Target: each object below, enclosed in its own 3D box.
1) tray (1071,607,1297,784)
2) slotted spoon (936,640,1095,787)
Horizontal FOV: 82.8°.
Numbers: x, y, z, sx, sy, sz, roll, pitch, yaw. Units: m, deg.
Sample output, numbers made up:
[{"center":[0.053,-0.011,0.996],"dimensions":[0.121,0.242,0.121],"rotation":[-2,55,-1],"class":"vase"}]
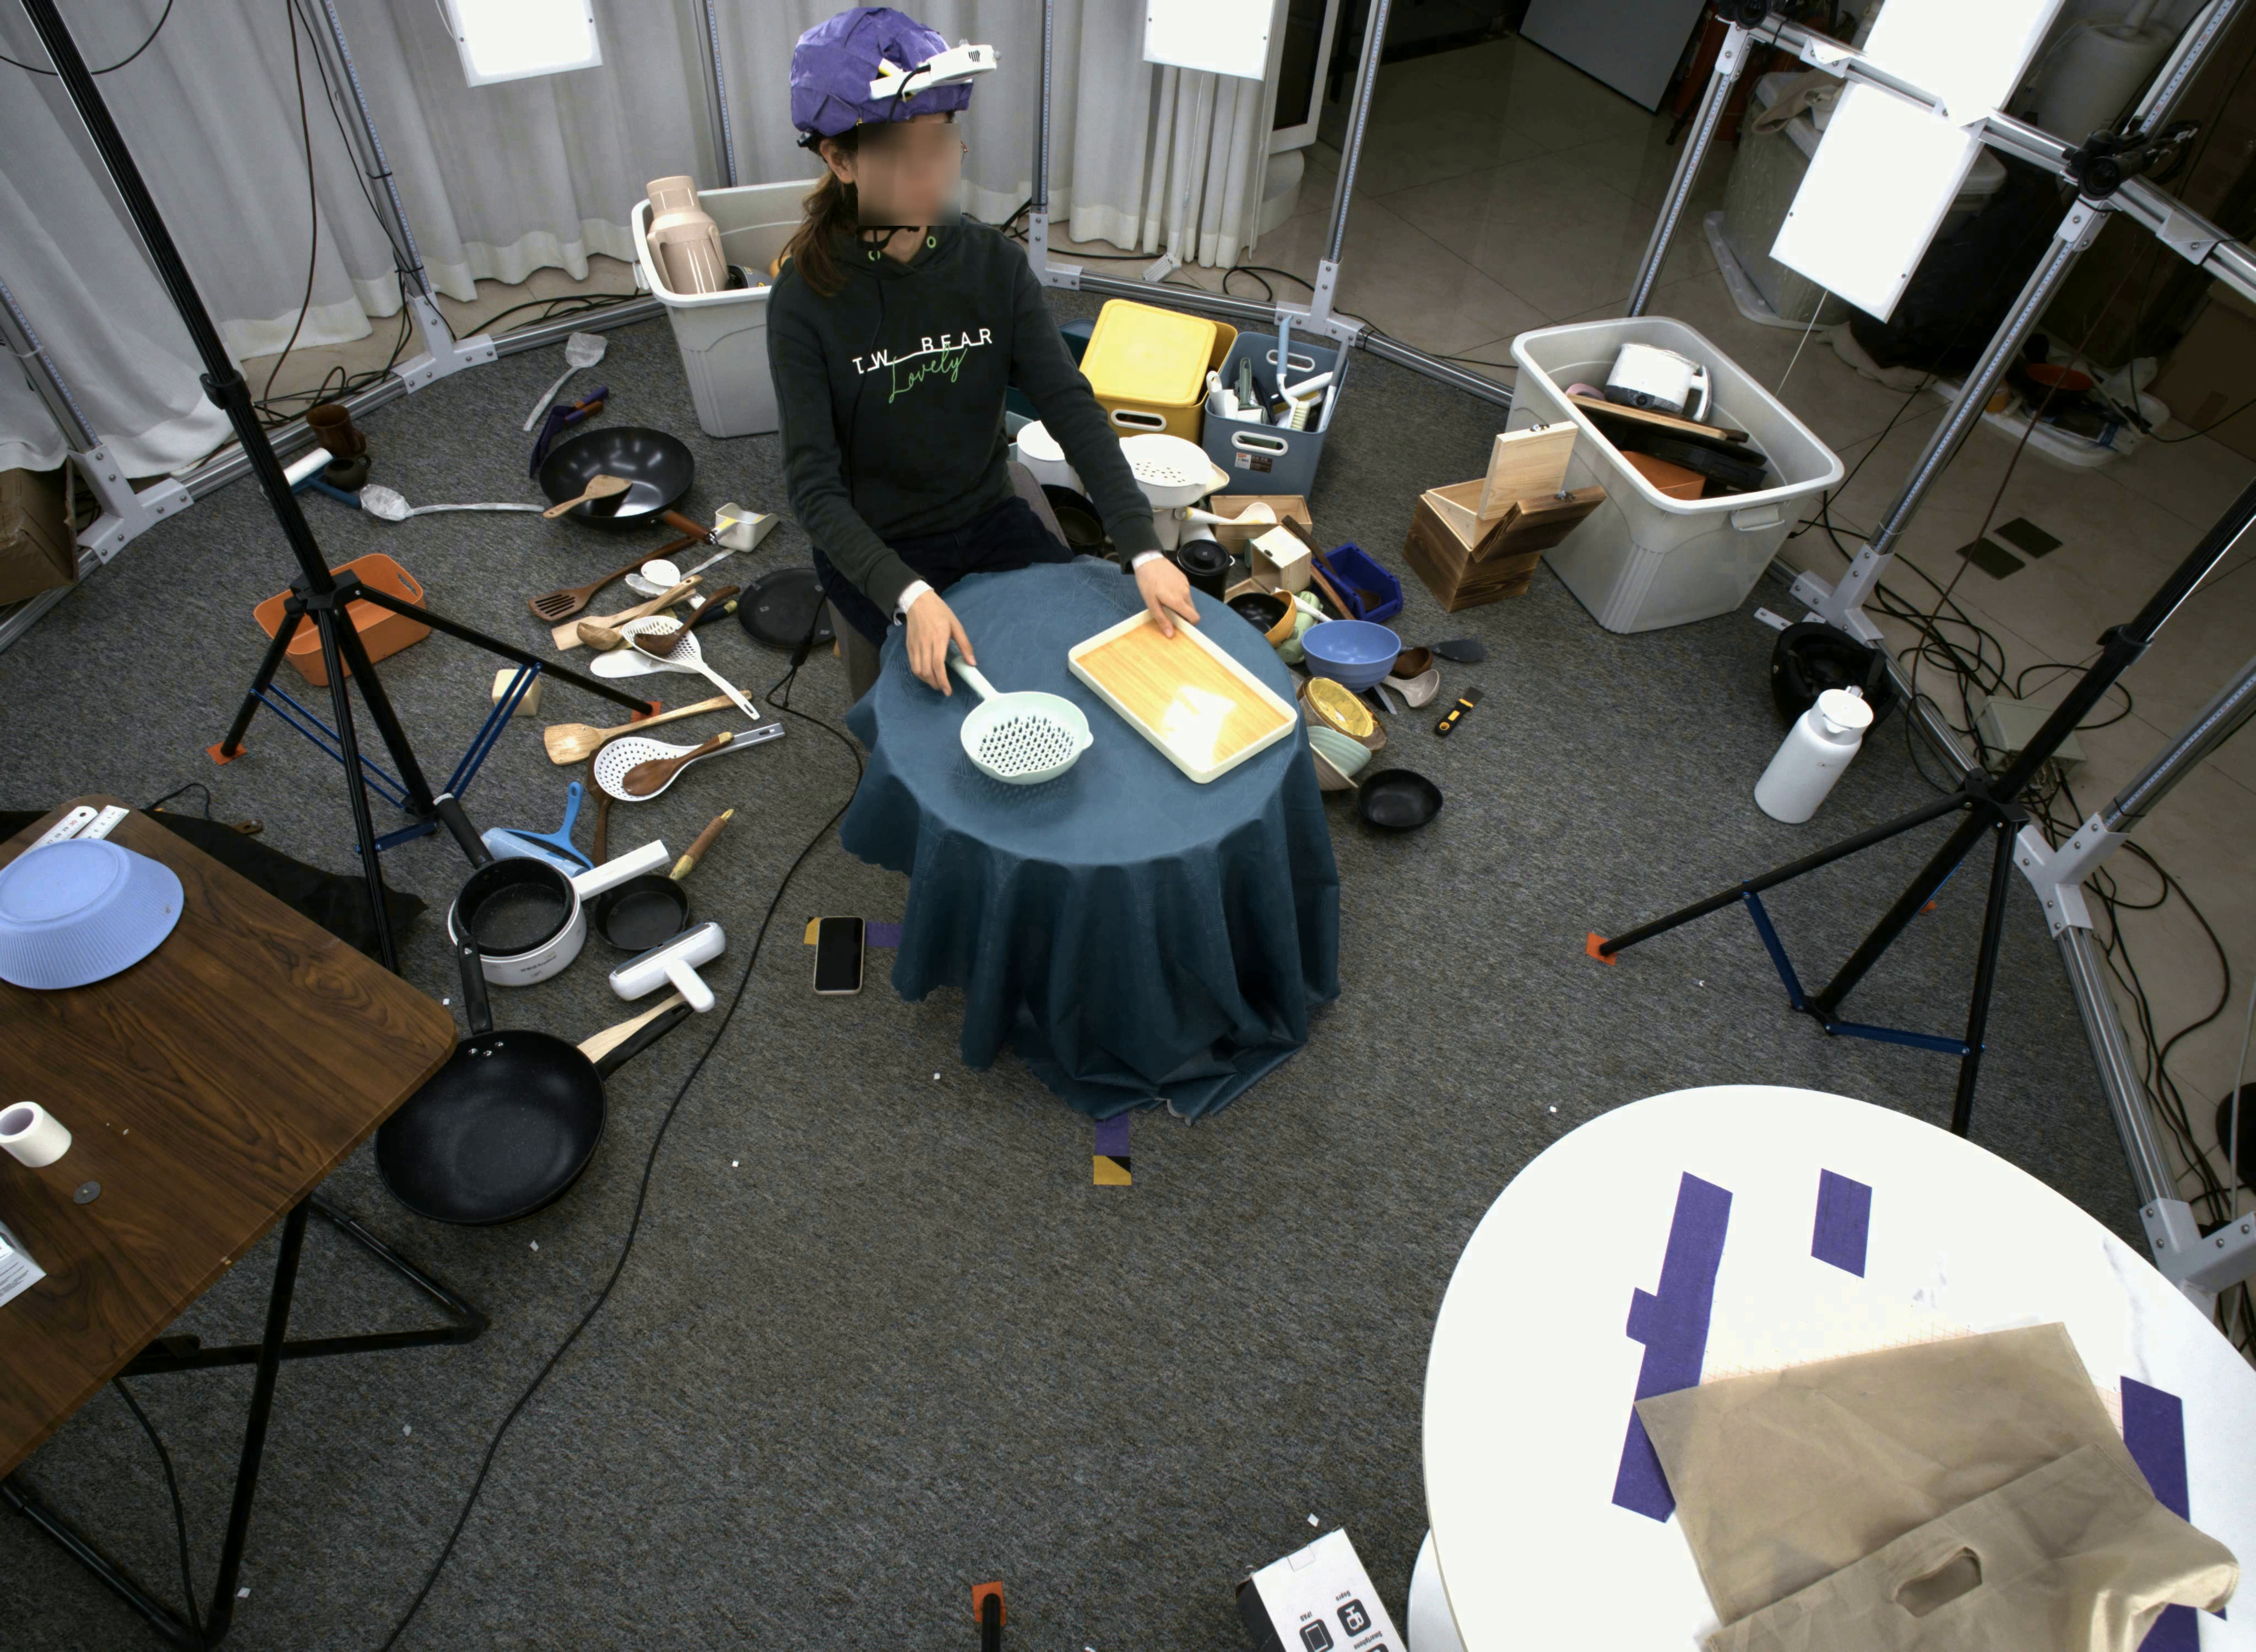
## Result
[{"center":[0.077,-0.193,1.841],"dimensions":[0.193,0.027,0.305],"rotation":[-30,57,-26],"class":"tray"},{"center":[-0.186,-0.173,1.781],"dimensions":[0.170,0.073,0.366],"rotation":[-22,54,-22],"class":"slotted spoon"}]
